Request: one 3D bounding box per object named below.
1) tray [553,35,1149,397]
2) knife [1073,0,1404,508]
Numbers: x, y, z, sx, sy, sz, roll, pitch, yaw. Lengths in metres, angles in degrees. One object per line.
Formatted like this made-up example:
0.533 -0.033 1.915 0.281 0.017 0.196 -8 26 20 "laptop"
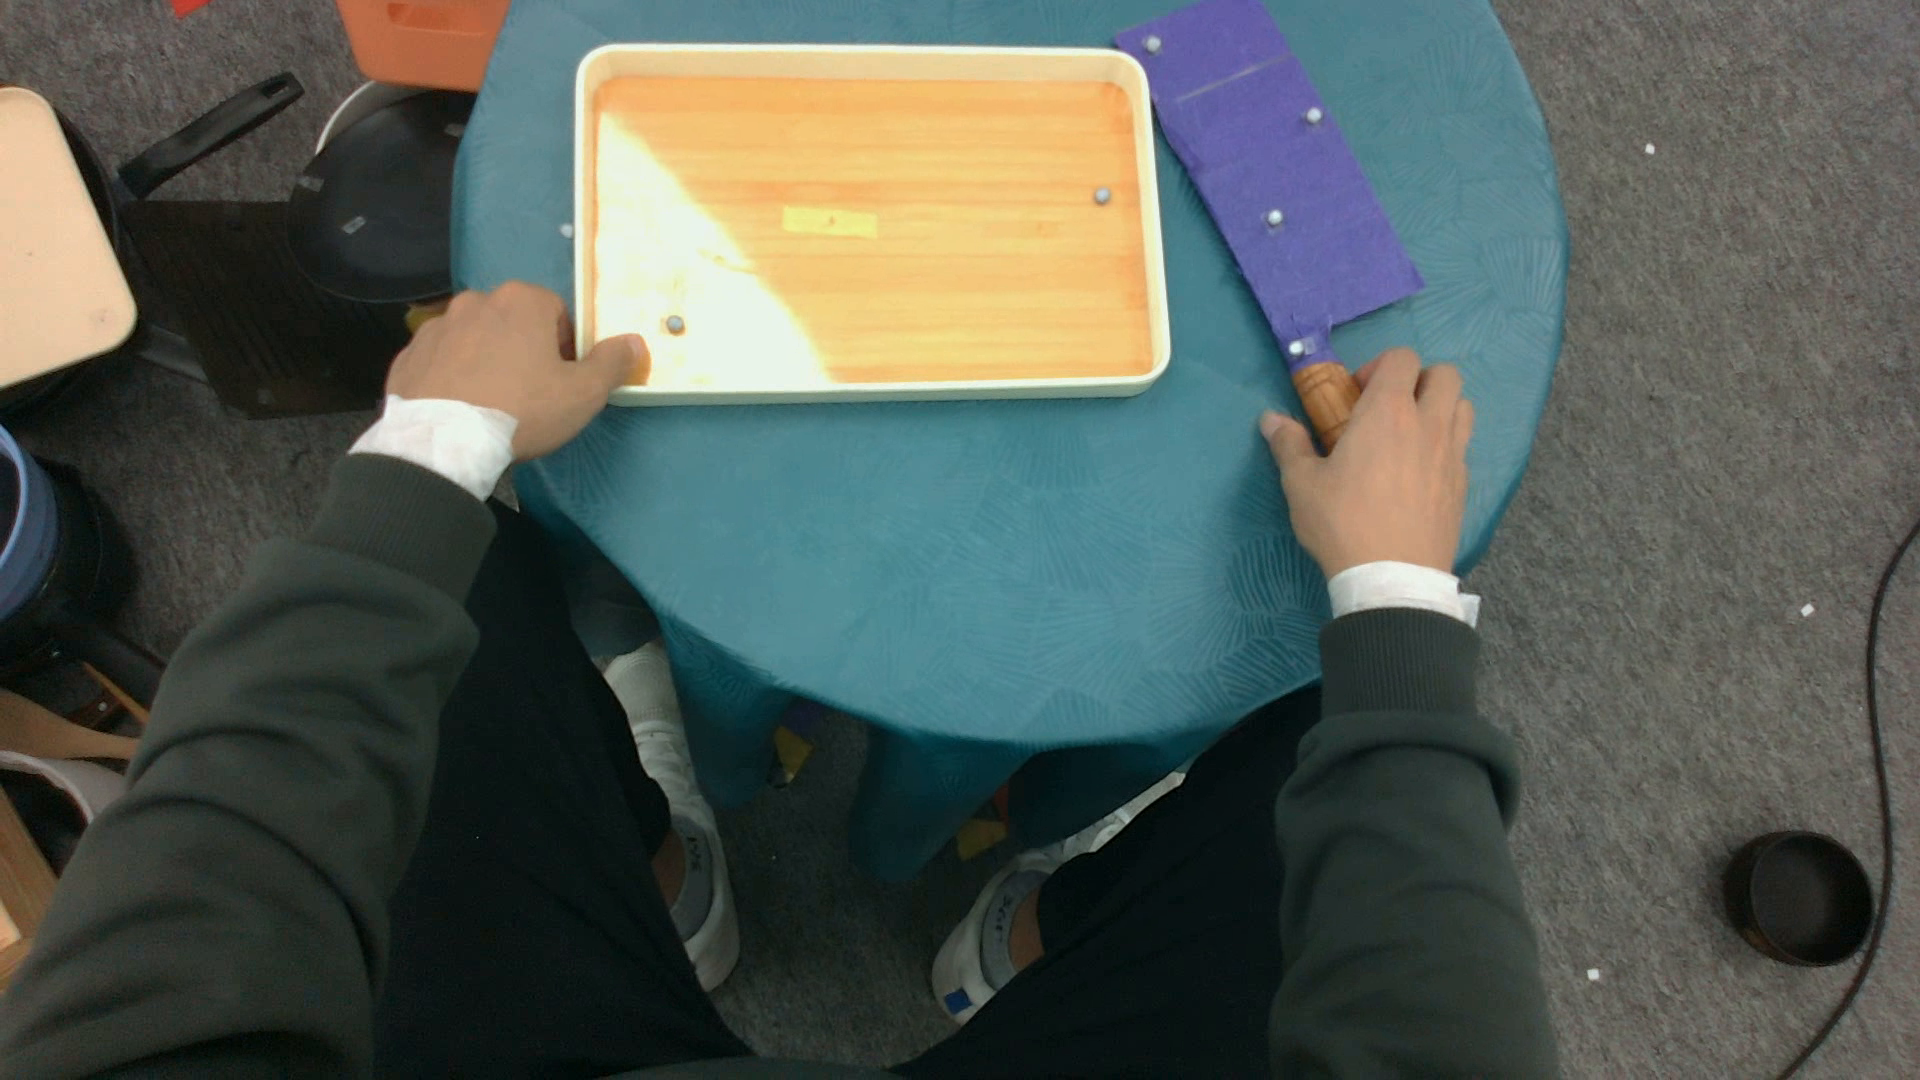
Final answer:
-0.056 -0.171 0.719 0.300 0.027 0.192 -2 78 -7 "tray"
0.176 -0.173 0.746 0.104 0.032 0.315 -25 80 -10 "knife"
